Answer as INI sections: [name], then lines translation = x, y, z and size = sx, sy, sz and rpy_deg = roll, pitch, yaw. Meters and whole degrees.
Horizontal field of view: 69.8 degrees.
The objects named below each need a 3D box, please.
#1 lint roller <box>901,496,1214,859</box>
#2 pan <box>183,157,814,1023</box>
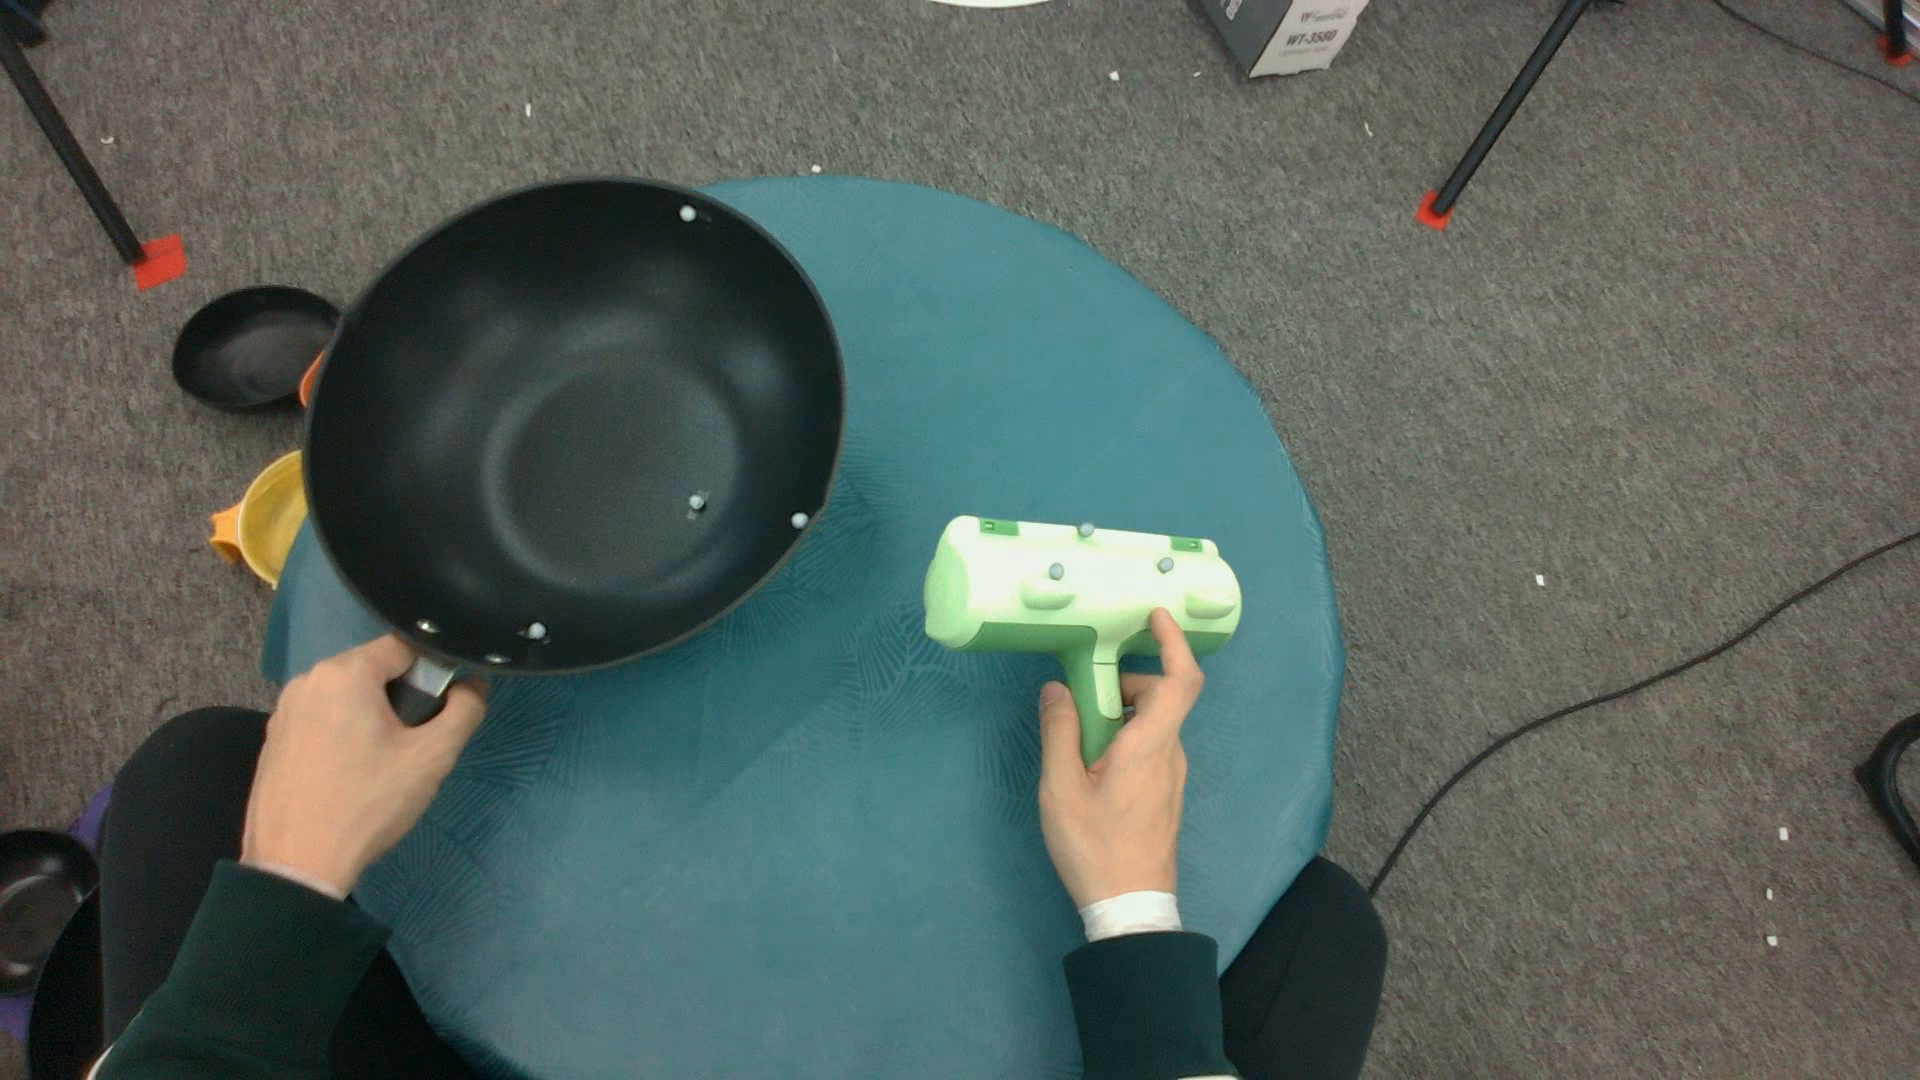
[lint roller]
translation = 0.070, 0.070, 0.721
size = 0.199, 0.082, 0.183
rpy_deg = 4, 69, -39
[pan]
translation = -0.244, 0.020, 0.710
size = 0.288, 0.086, 0.464
rpy_deg = 20, 75, 11
